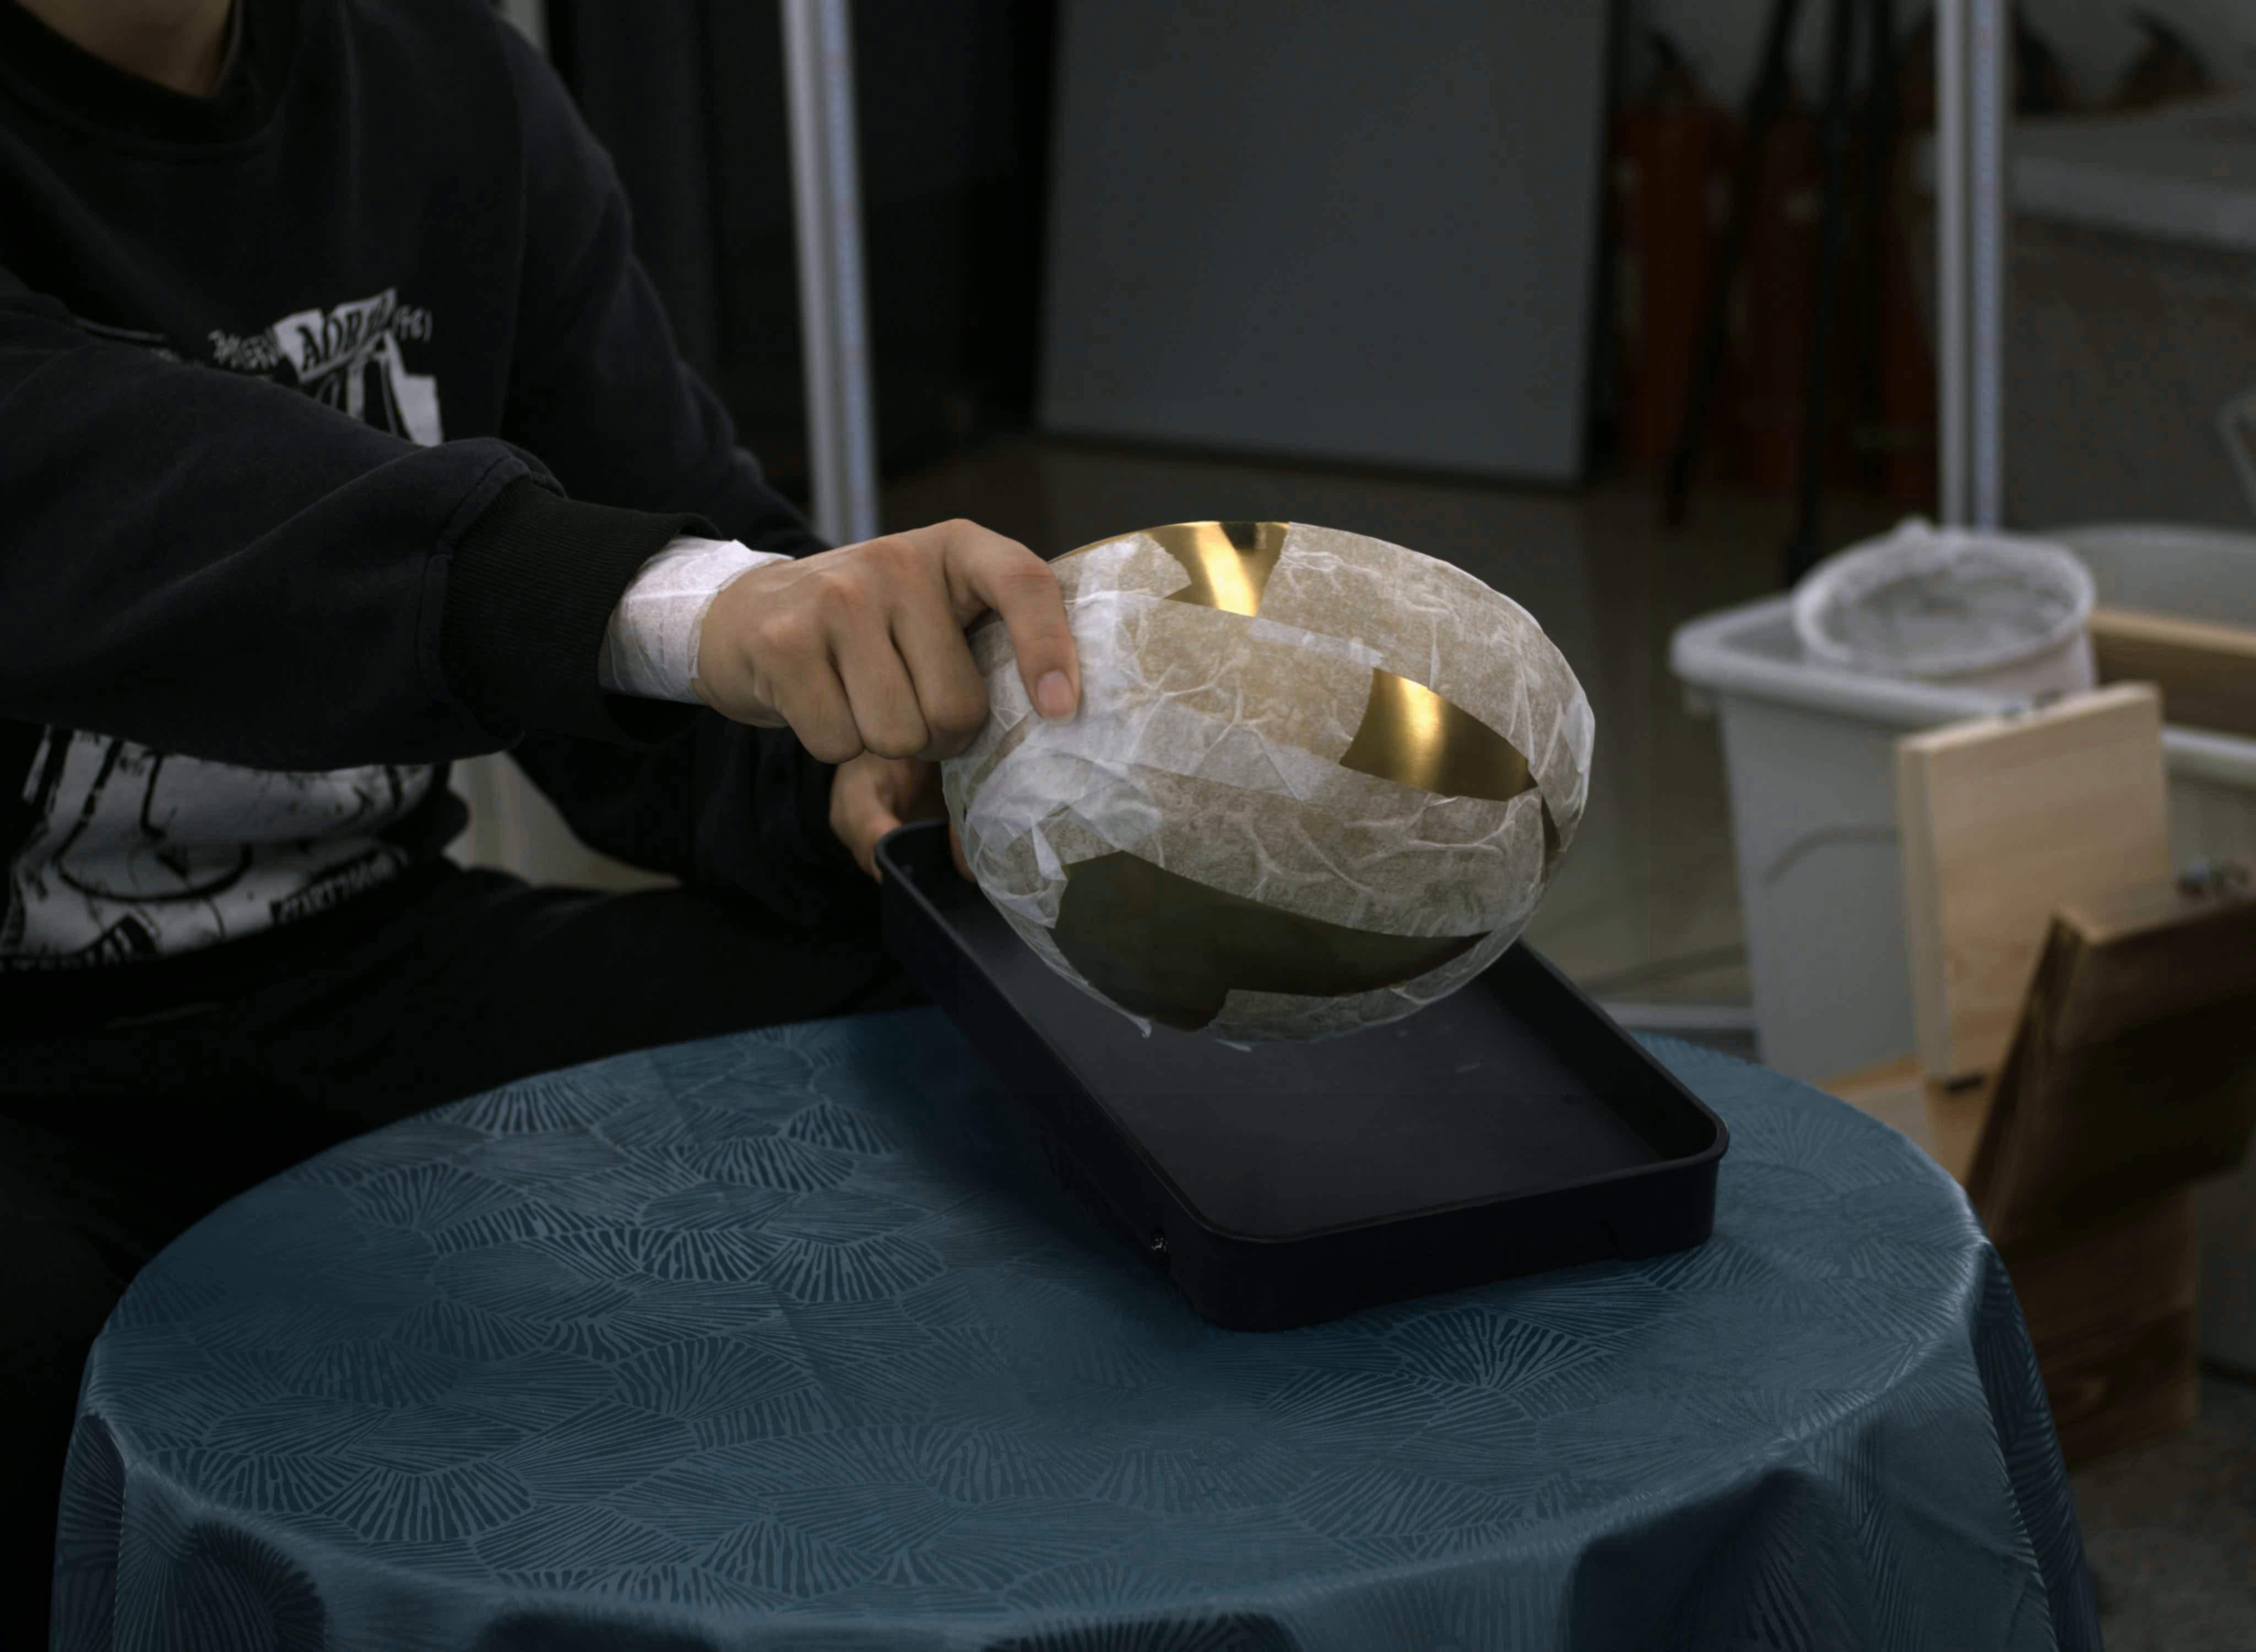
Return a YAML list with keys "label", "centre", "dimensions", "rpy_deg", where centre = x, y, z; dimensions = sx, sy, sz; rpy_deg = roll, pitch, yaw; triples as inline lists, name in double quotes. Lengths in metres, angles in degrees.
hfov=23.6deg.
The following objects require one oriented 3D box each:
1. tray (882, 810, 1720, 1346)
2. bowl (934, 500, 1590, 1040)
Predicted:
- label: "tray"
  centre: [0.049, 0.068, 1.776]
  dimensions: [0.180, 0.037, 0.321]
  rpy_deg: [-8, 27, -19]
- label: "bowl"
  centre: [0.035, 0.003, 1.620]
  dimensions: [0.213, 0.214, 0.095]
  rpy_deg: [-1, 54, 10]
